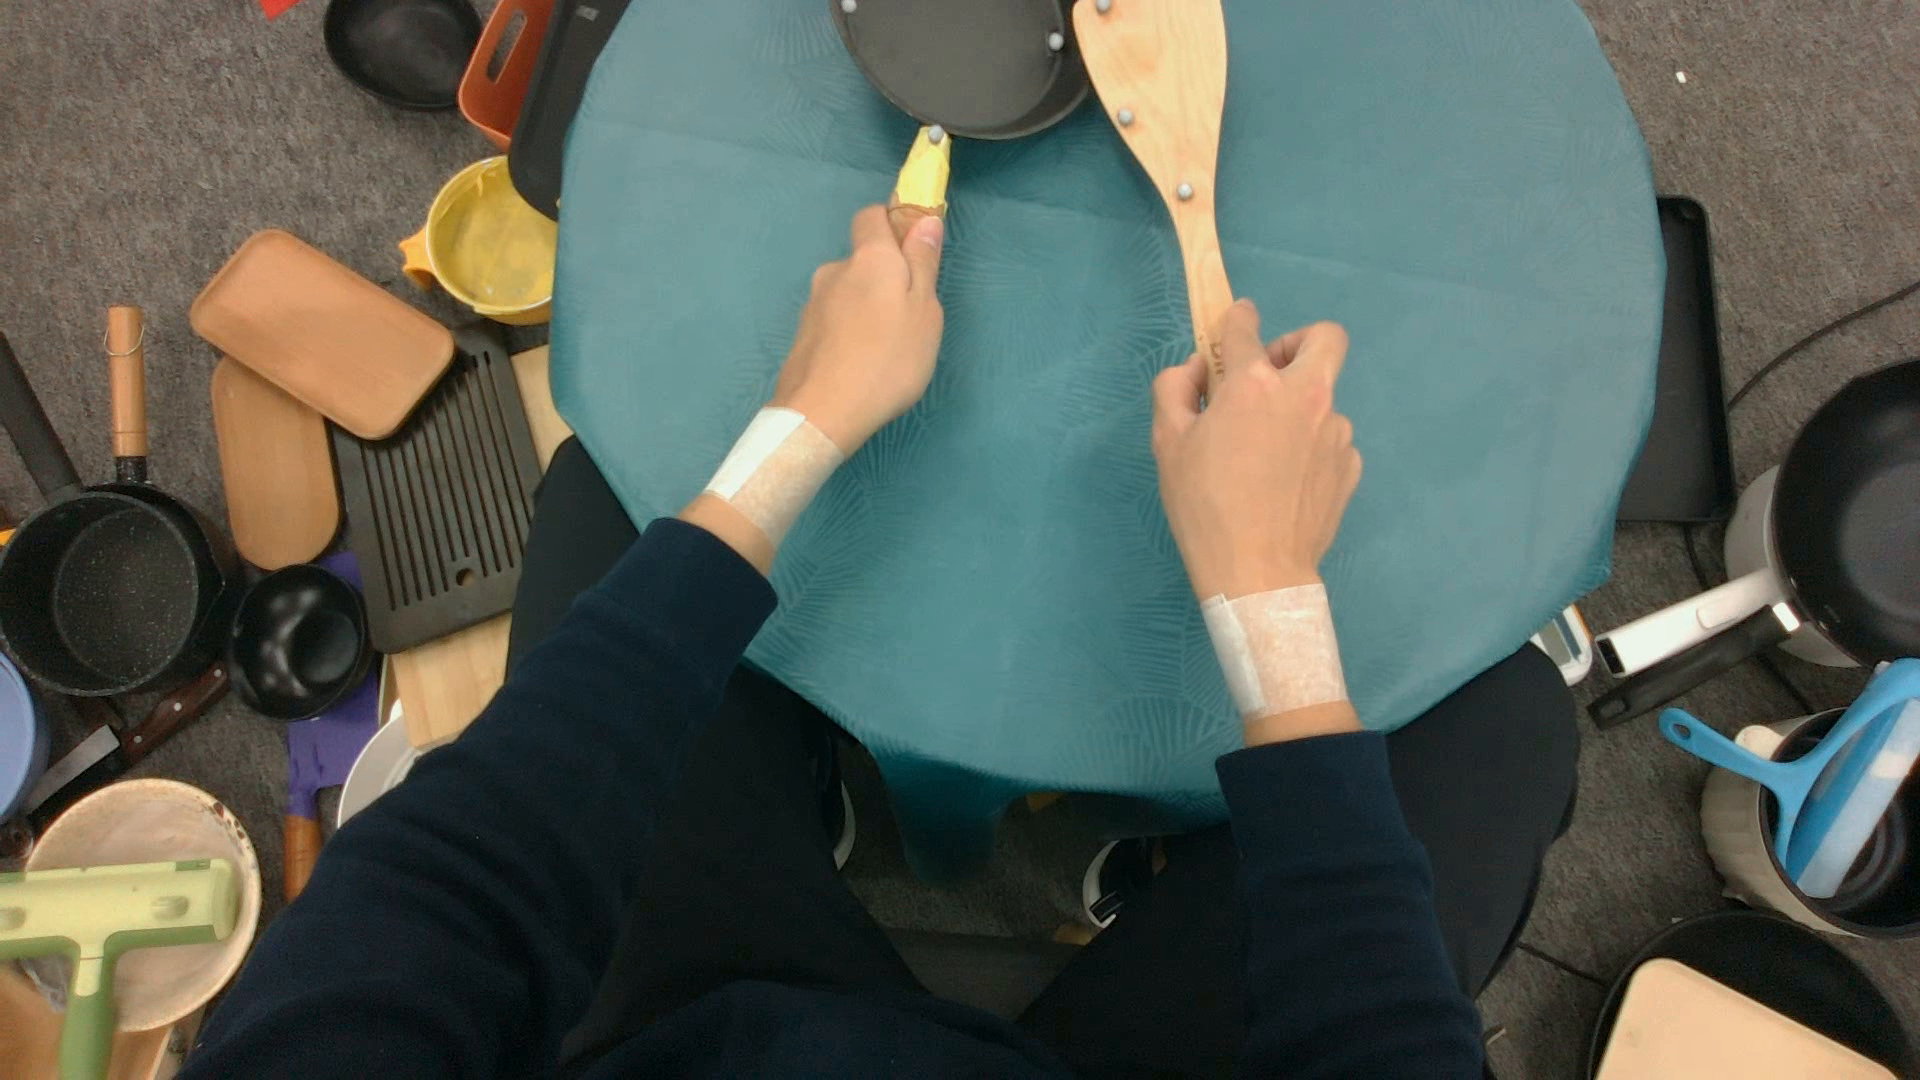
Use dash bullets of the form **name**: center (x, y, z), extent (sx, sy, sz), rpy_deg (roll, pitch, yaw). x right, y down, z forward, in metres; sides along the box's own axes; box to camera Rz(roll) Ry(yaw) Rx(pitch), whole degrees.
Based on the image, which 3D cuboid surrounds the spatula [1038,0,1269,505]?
- **spatula**: center (0.104, -0.167, 0.689), extent (0.080, 0.016, 0.328), rpy_deg (-13, 67, 8)

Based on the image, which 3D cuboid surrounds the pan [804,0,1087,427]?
- **pan**: center (-0.030, -0.209, 0.707), extent (0.169, 0.049, 0.325), rpy_deg (18, 76, -18)
